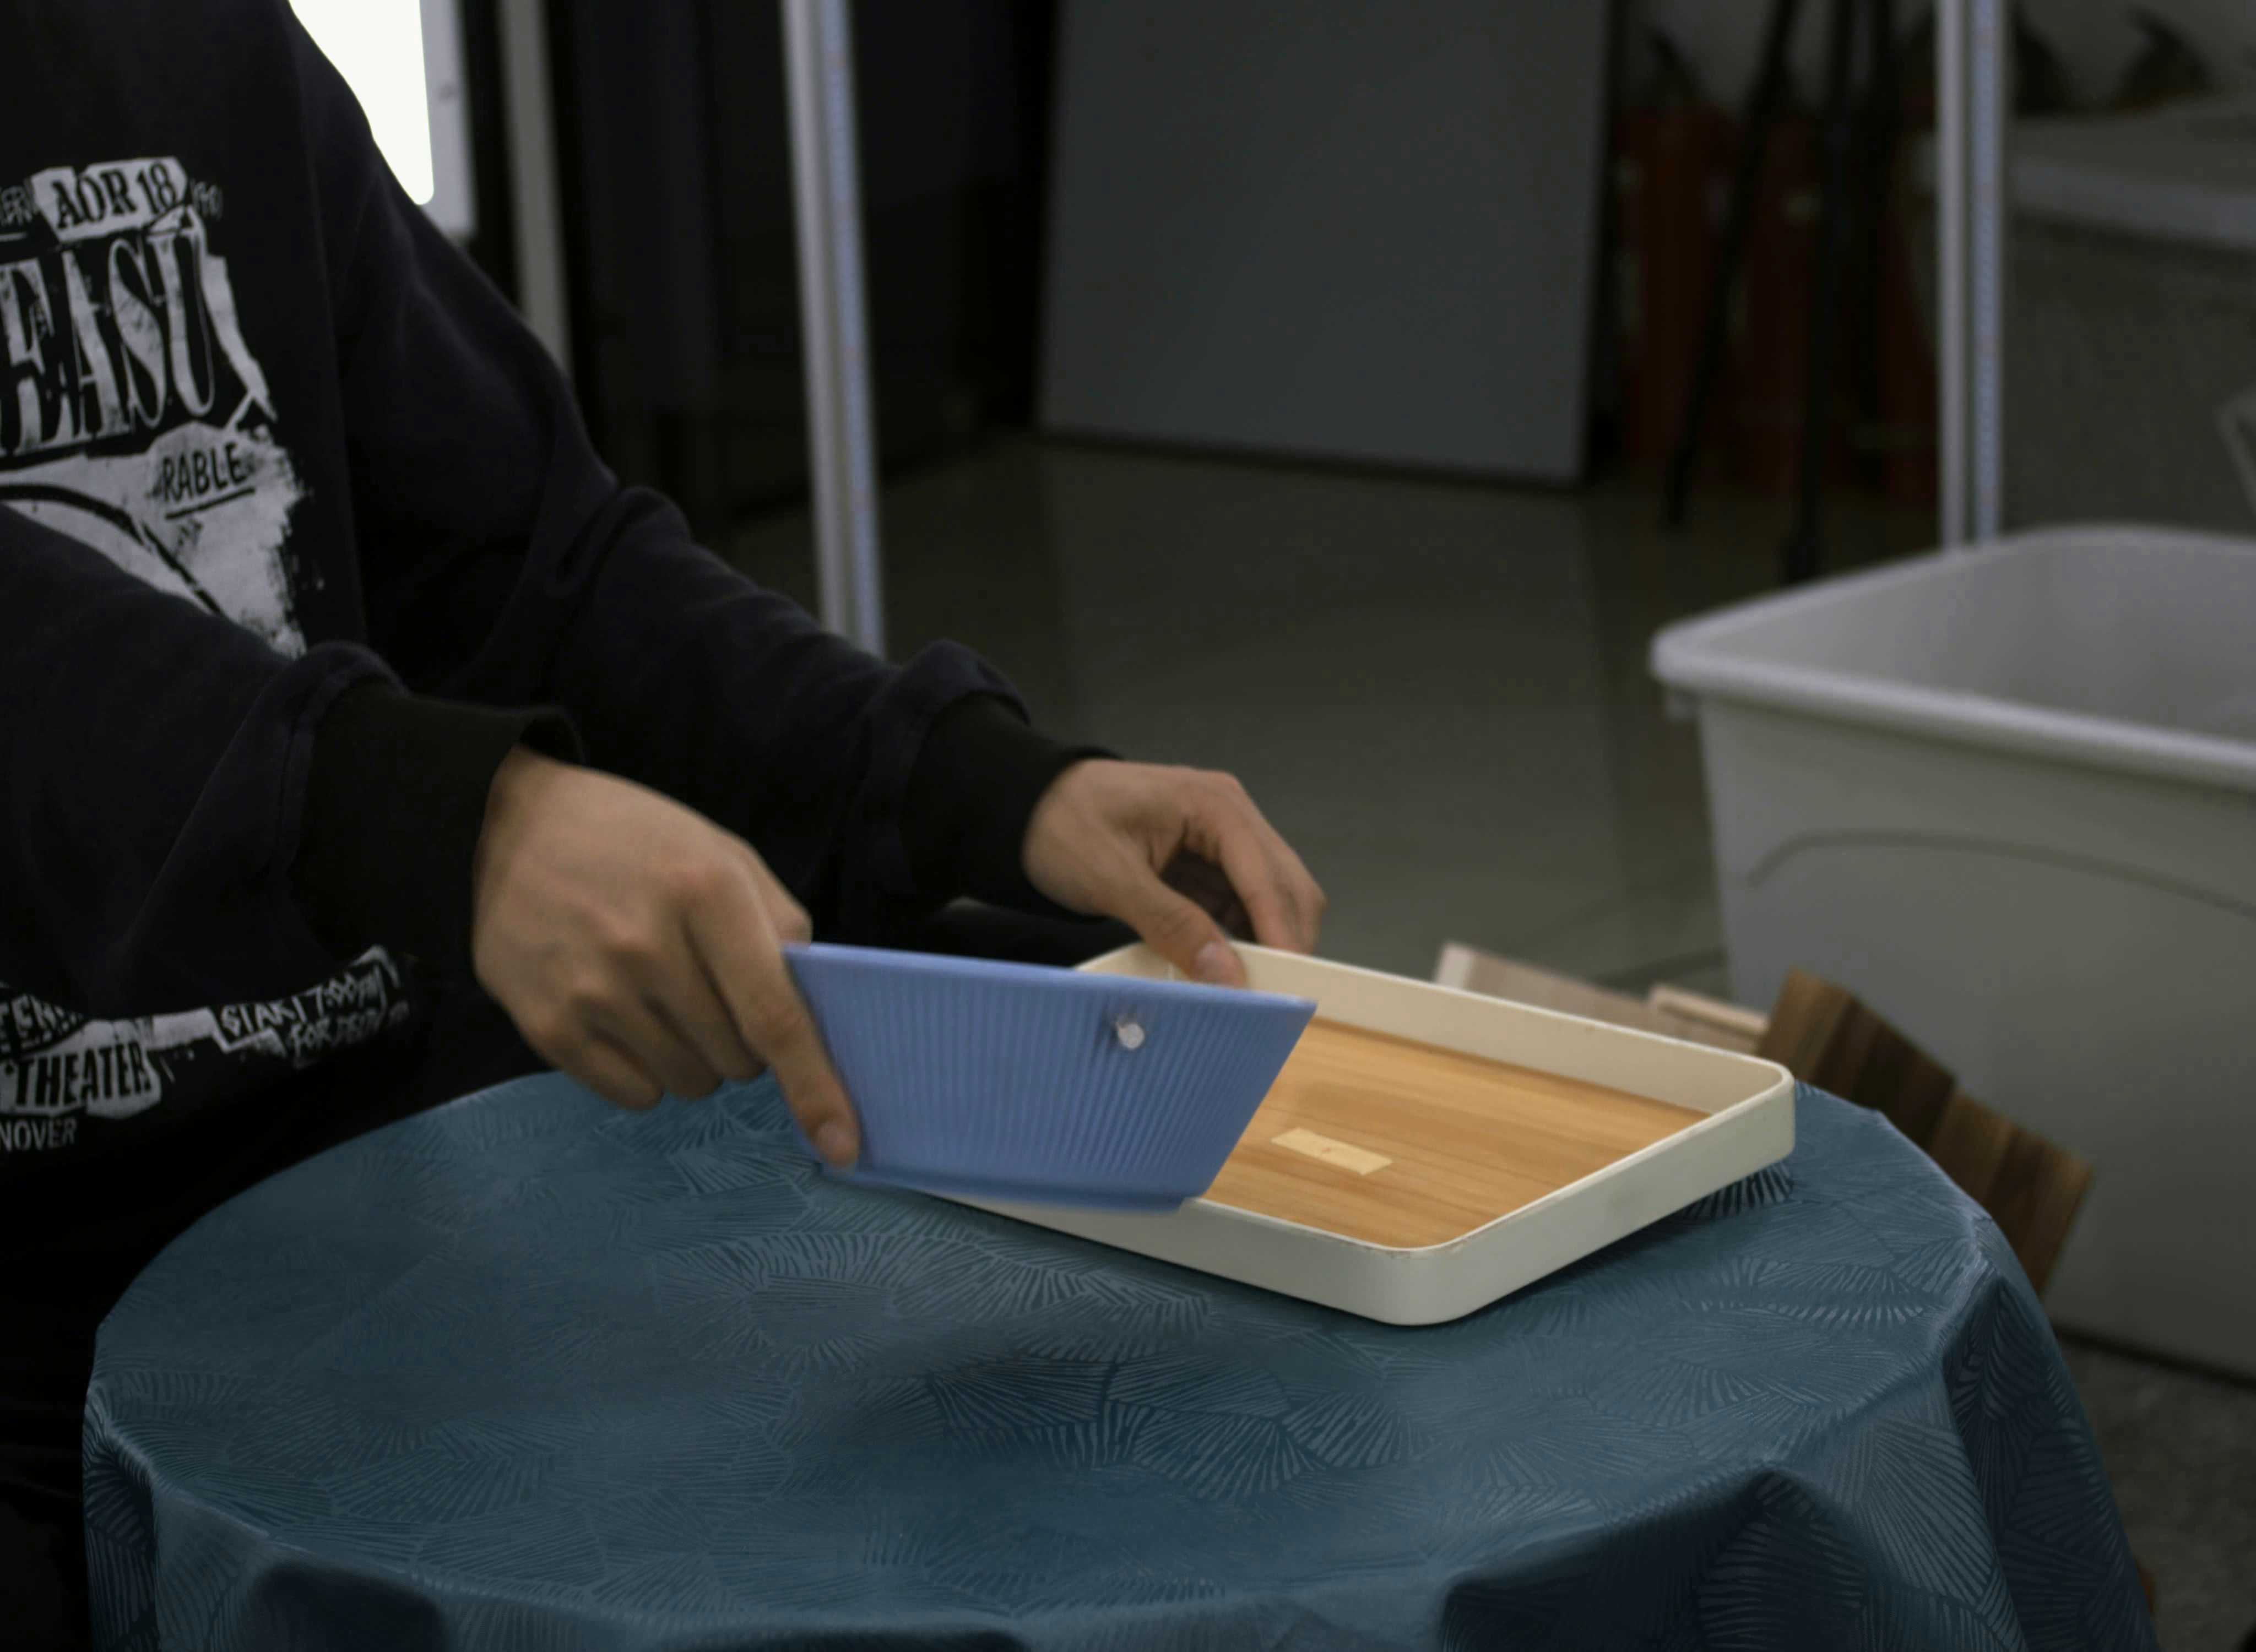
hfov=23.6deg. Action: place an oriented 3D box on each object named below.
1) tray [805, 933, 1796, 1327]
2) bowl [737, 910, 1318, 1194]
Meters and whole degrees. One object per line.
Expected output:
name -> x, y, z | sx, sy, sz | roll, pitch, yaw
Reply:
tray -> 0.053, 0.096, 1.776 | 0.188, 0.027, 0.303 | -22, 22, -39
bowl -> -0.033, 0.068, 1.594 | 0.174, 0.071, 0.176 | 7, -3, -1
